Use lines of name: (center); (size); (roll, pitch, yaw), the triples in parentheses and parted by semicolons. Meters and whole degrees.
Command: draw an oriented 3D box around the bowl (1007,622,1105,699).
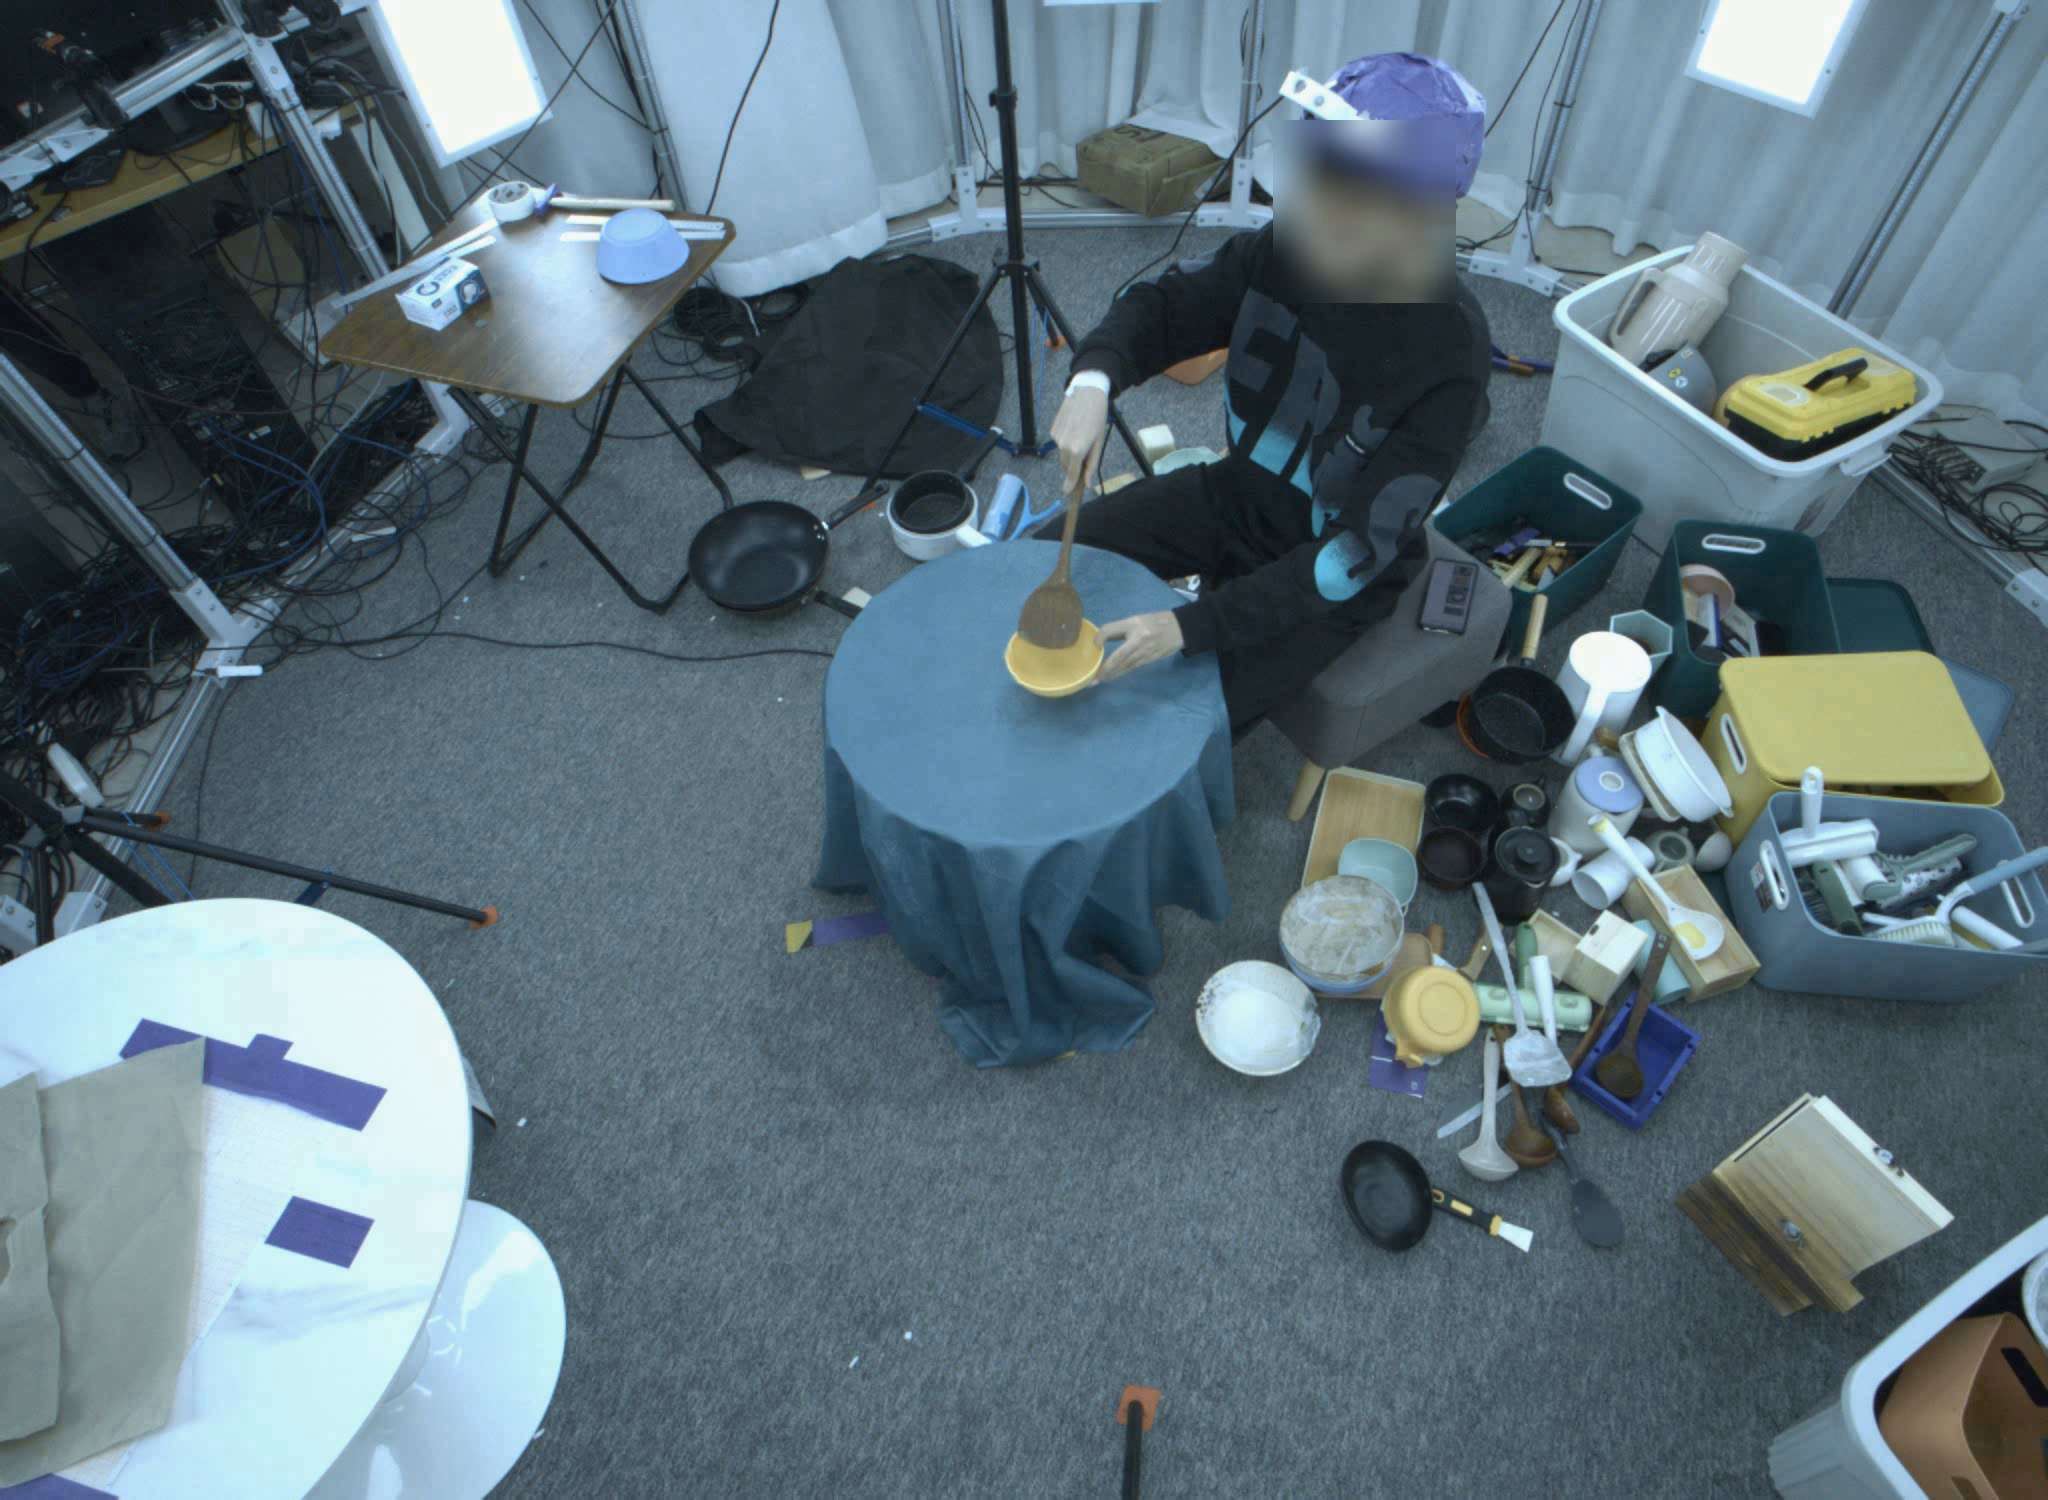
bowl: (0.049, -0.126, 1.823); (0.145, 0.061, 0.144); (-2, 57, 5)

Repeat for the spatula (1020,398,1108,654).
spatula: (0.071, -0.331, 1.782); (0.095, 0.016, 0.386); (12, 95, 14)
